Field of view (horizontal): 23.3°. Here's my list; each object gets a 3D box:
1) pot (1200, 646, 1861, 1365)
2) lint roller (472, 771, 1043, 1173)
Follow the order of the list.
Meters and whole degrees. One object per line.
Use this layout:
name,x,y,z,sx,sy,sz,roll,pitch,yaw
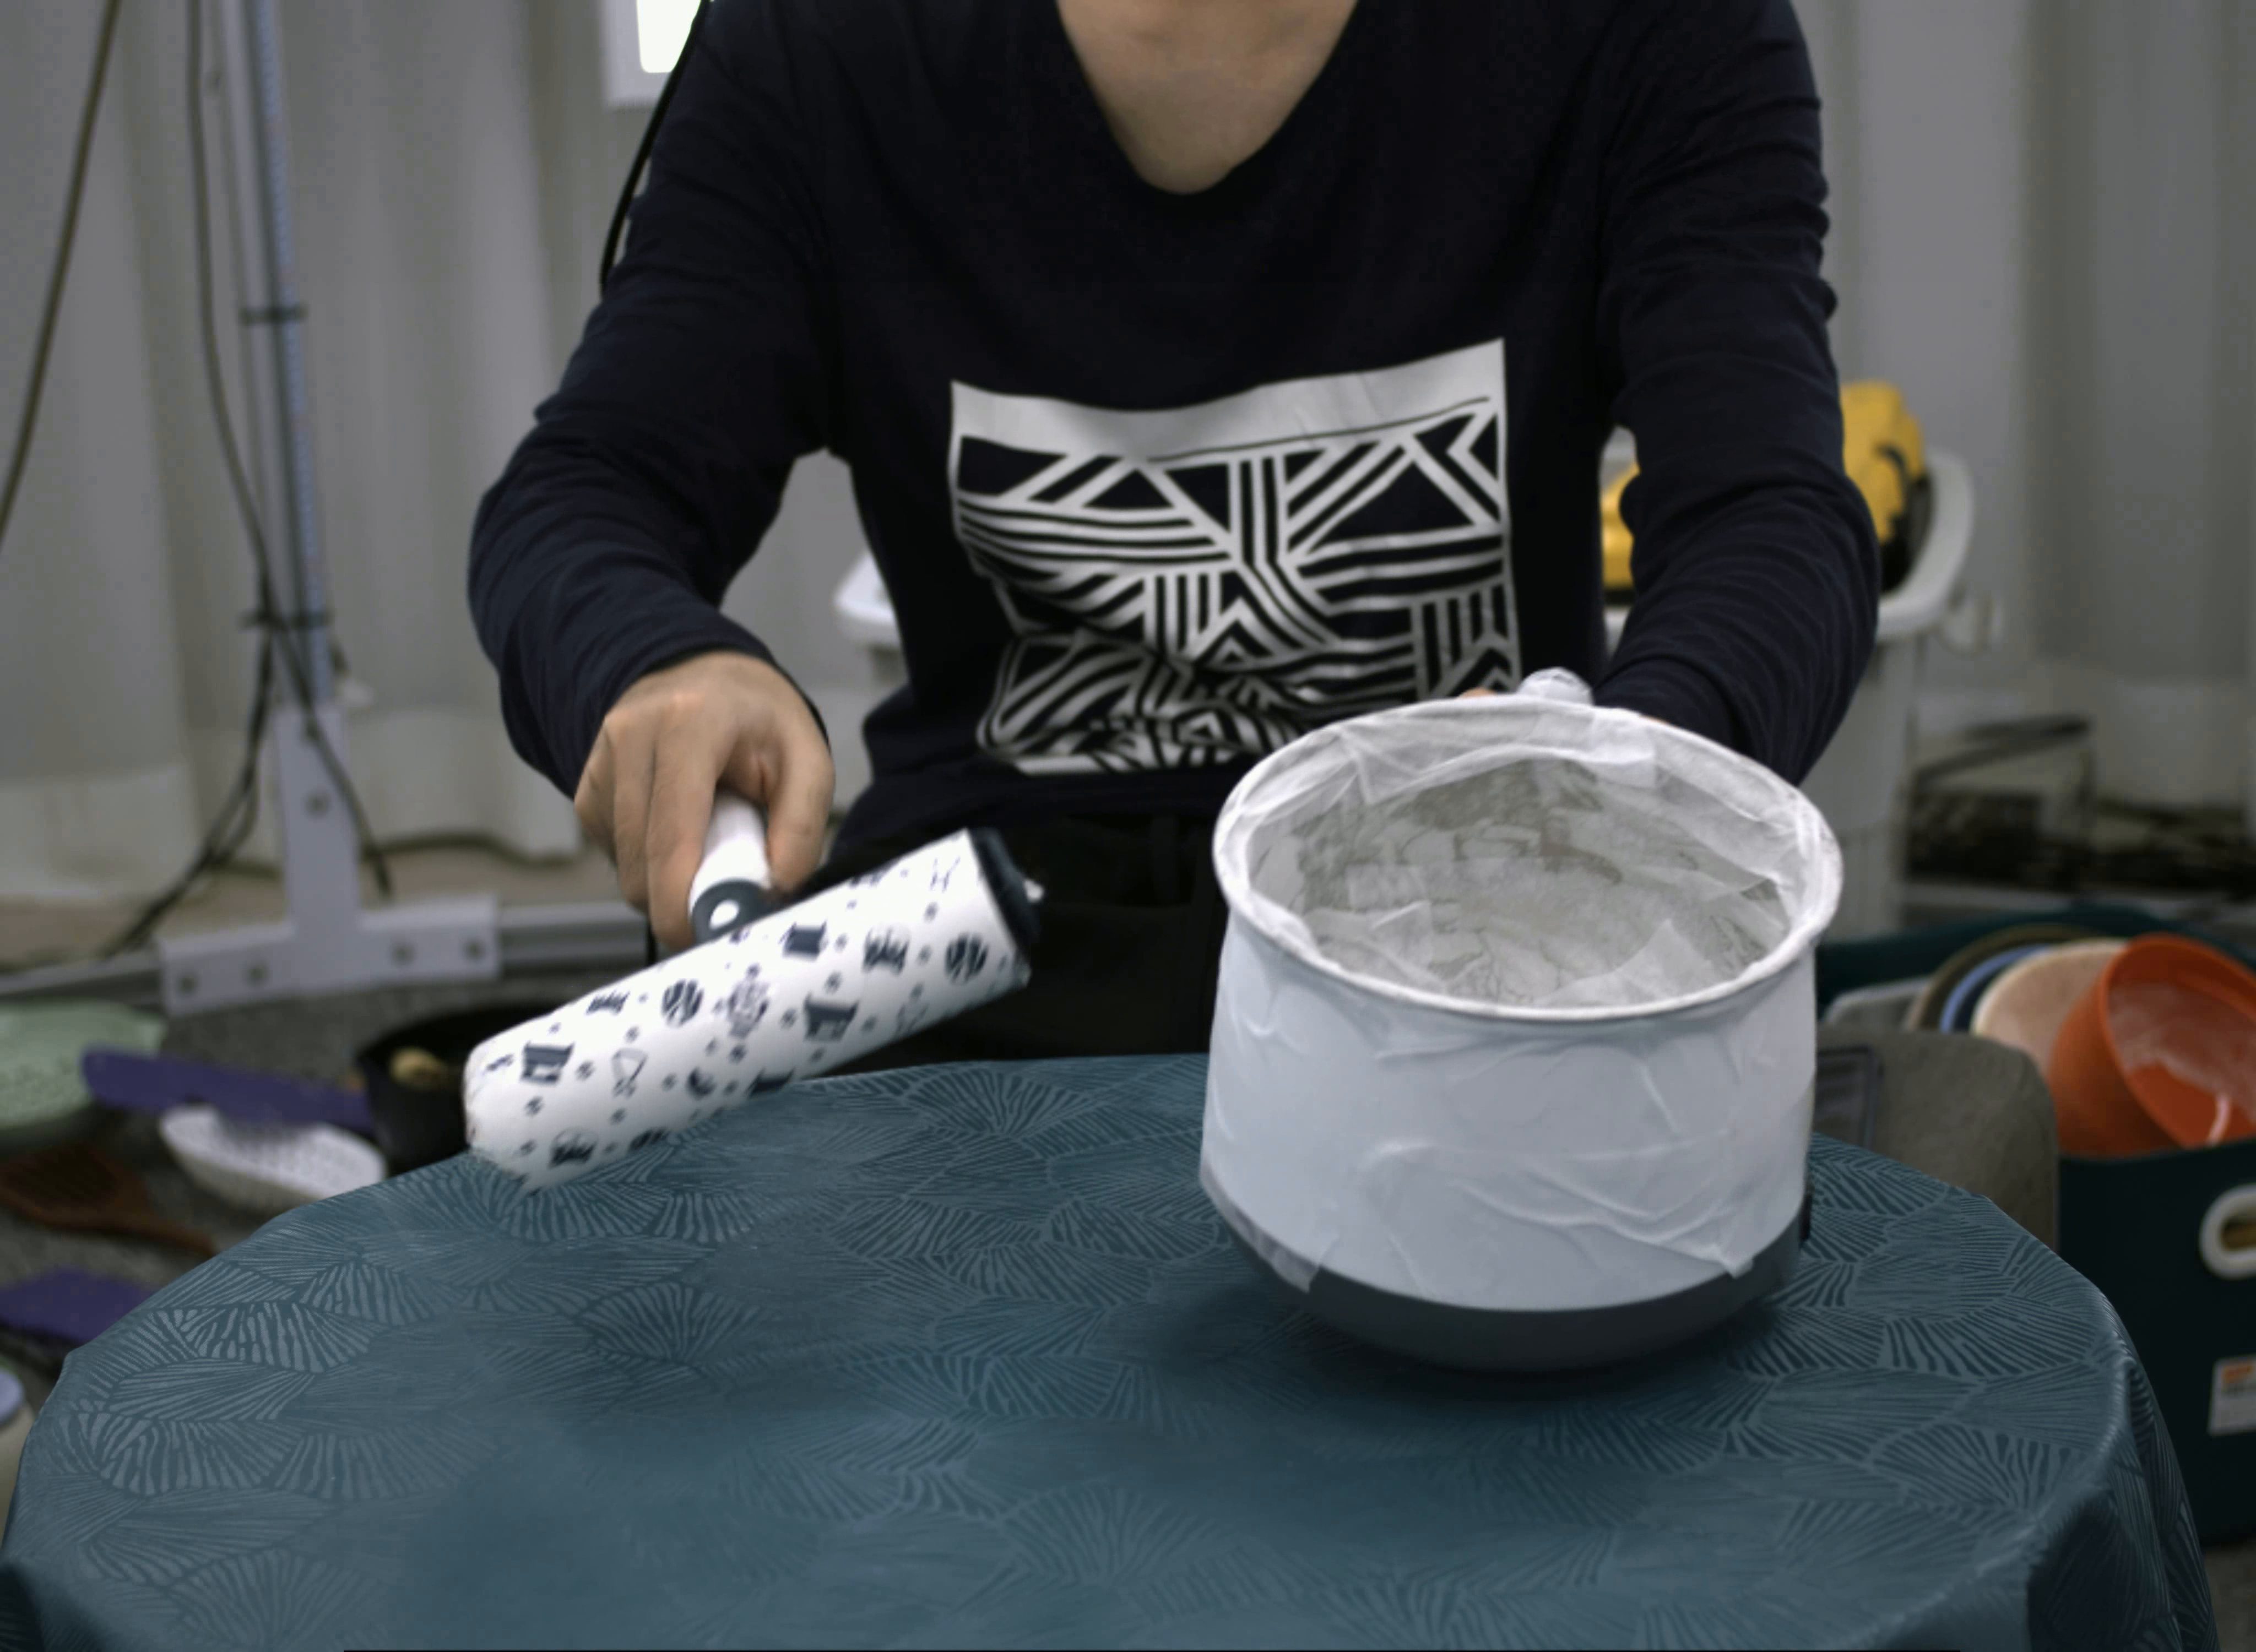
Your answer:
pot,0.115,0.042,1.583,0.178,0.135,0.236,8,32,4
lint roller,-0.123,0.019,1.694,0.176,0.050,0.249,-26,19,-1
